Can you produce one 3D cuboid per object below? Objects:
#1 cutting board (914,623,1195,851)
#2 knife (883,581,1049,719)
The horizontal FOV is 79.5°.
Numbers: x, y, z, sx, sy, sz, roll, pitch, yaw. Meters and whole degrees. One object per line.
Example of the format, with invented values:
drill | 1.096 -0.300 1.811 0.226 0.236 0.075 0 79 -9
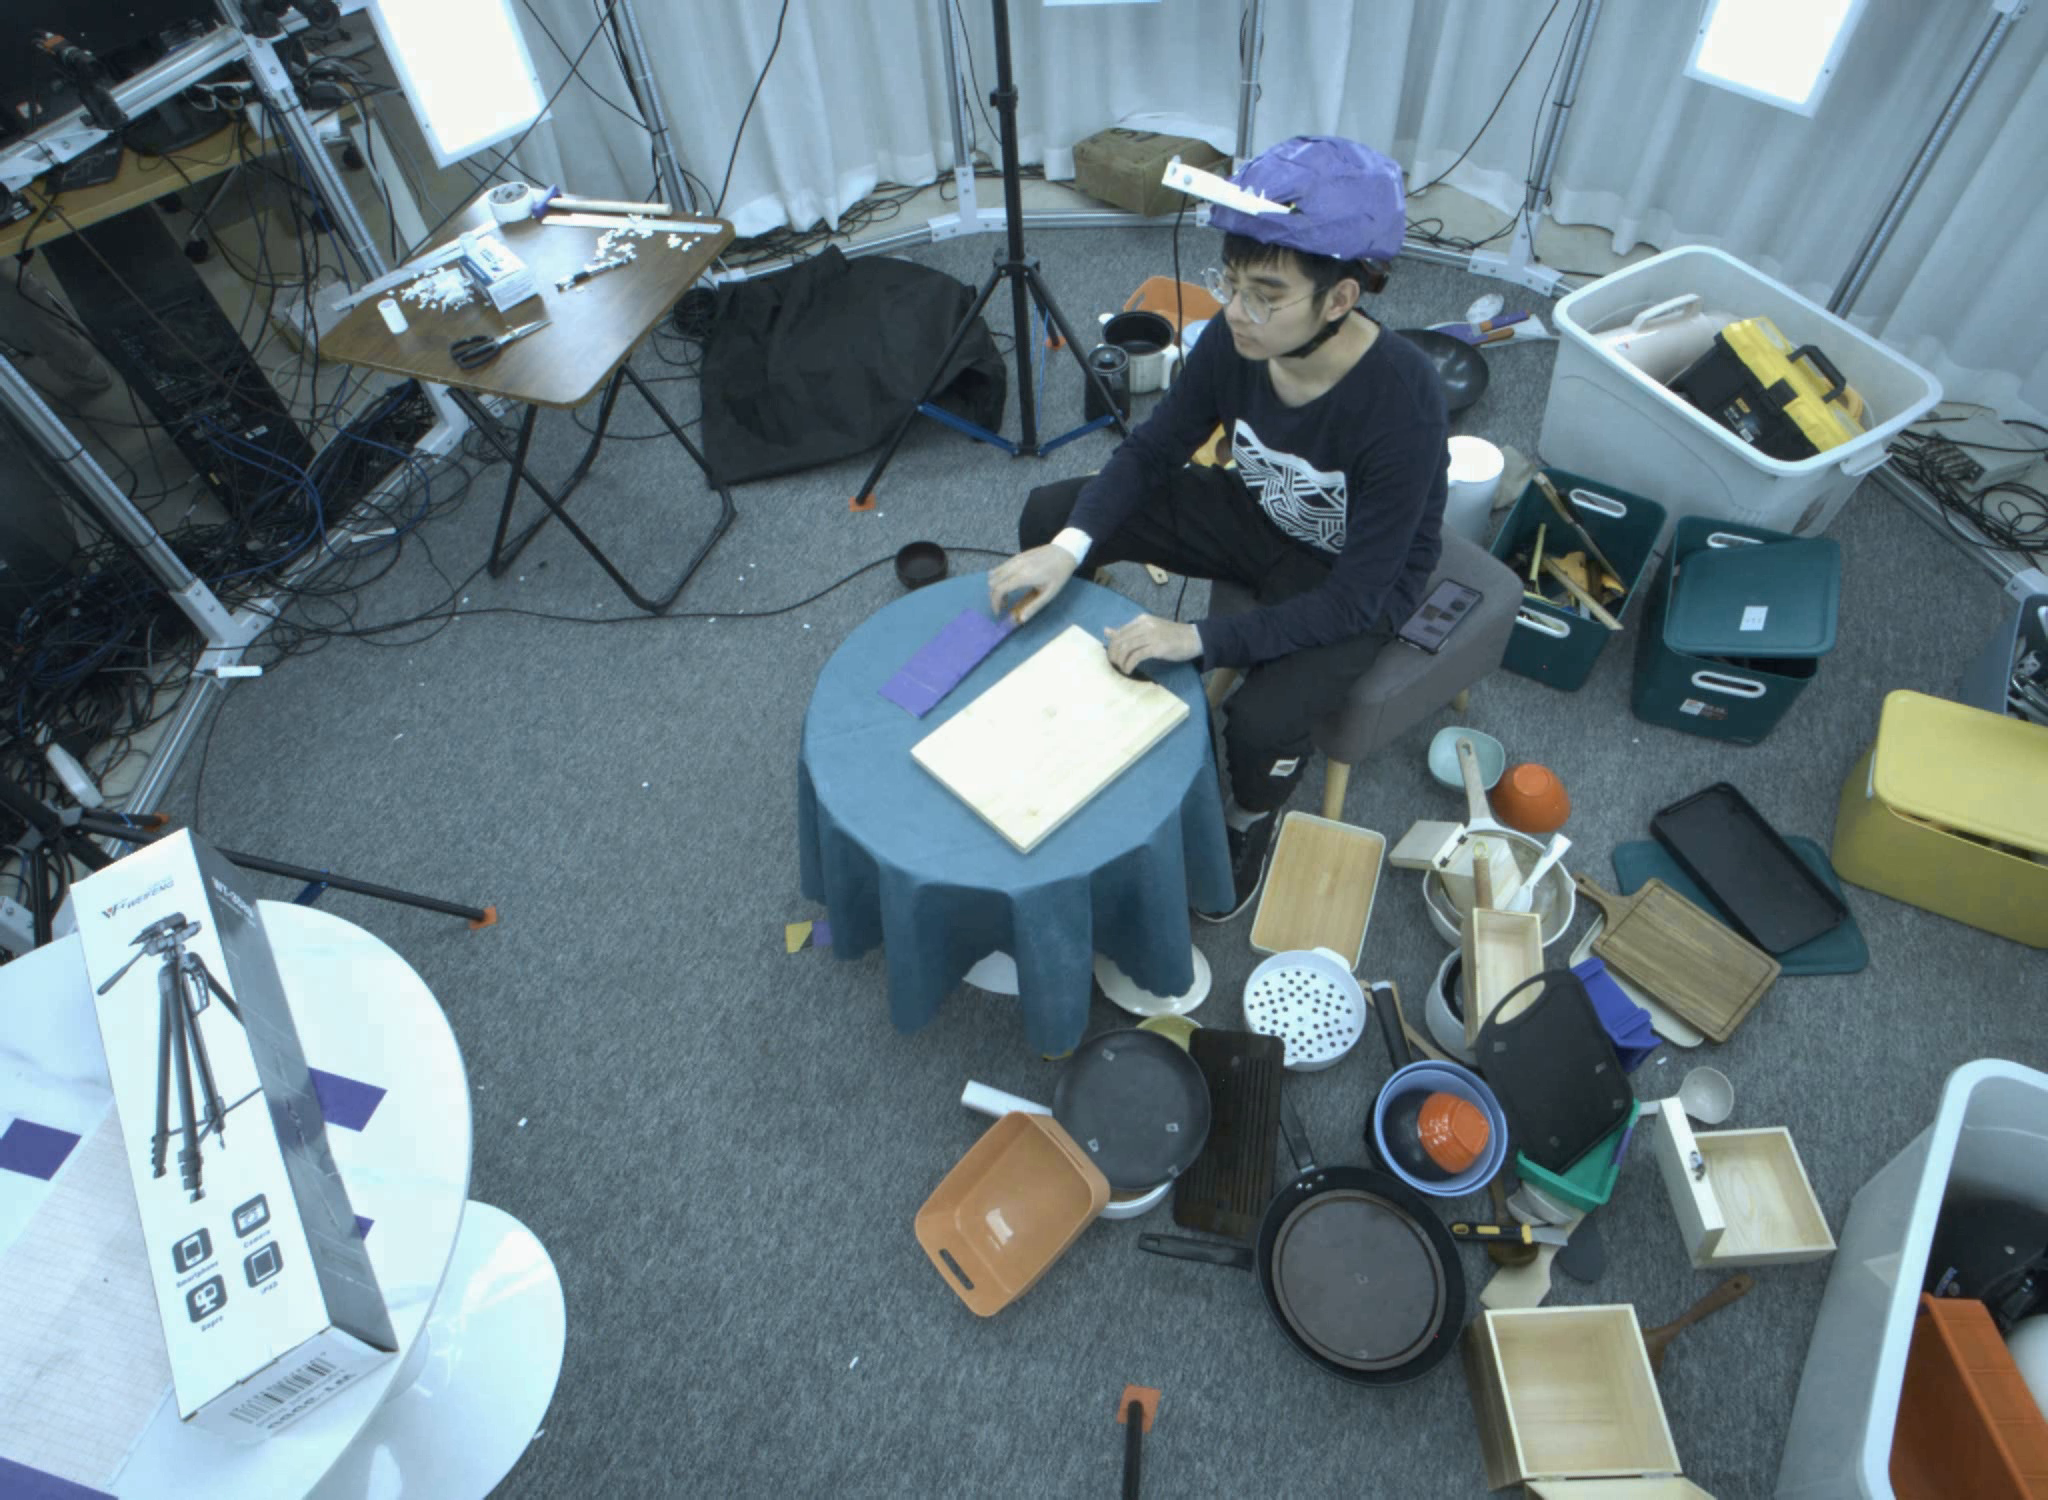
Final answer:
cutting board | 0.043 -0.030 1.805 0.246 0.024 0.351 39 64 25
knife | -0.091 -0.173 1.904 0.102 0.032 0.317 33 62 22
